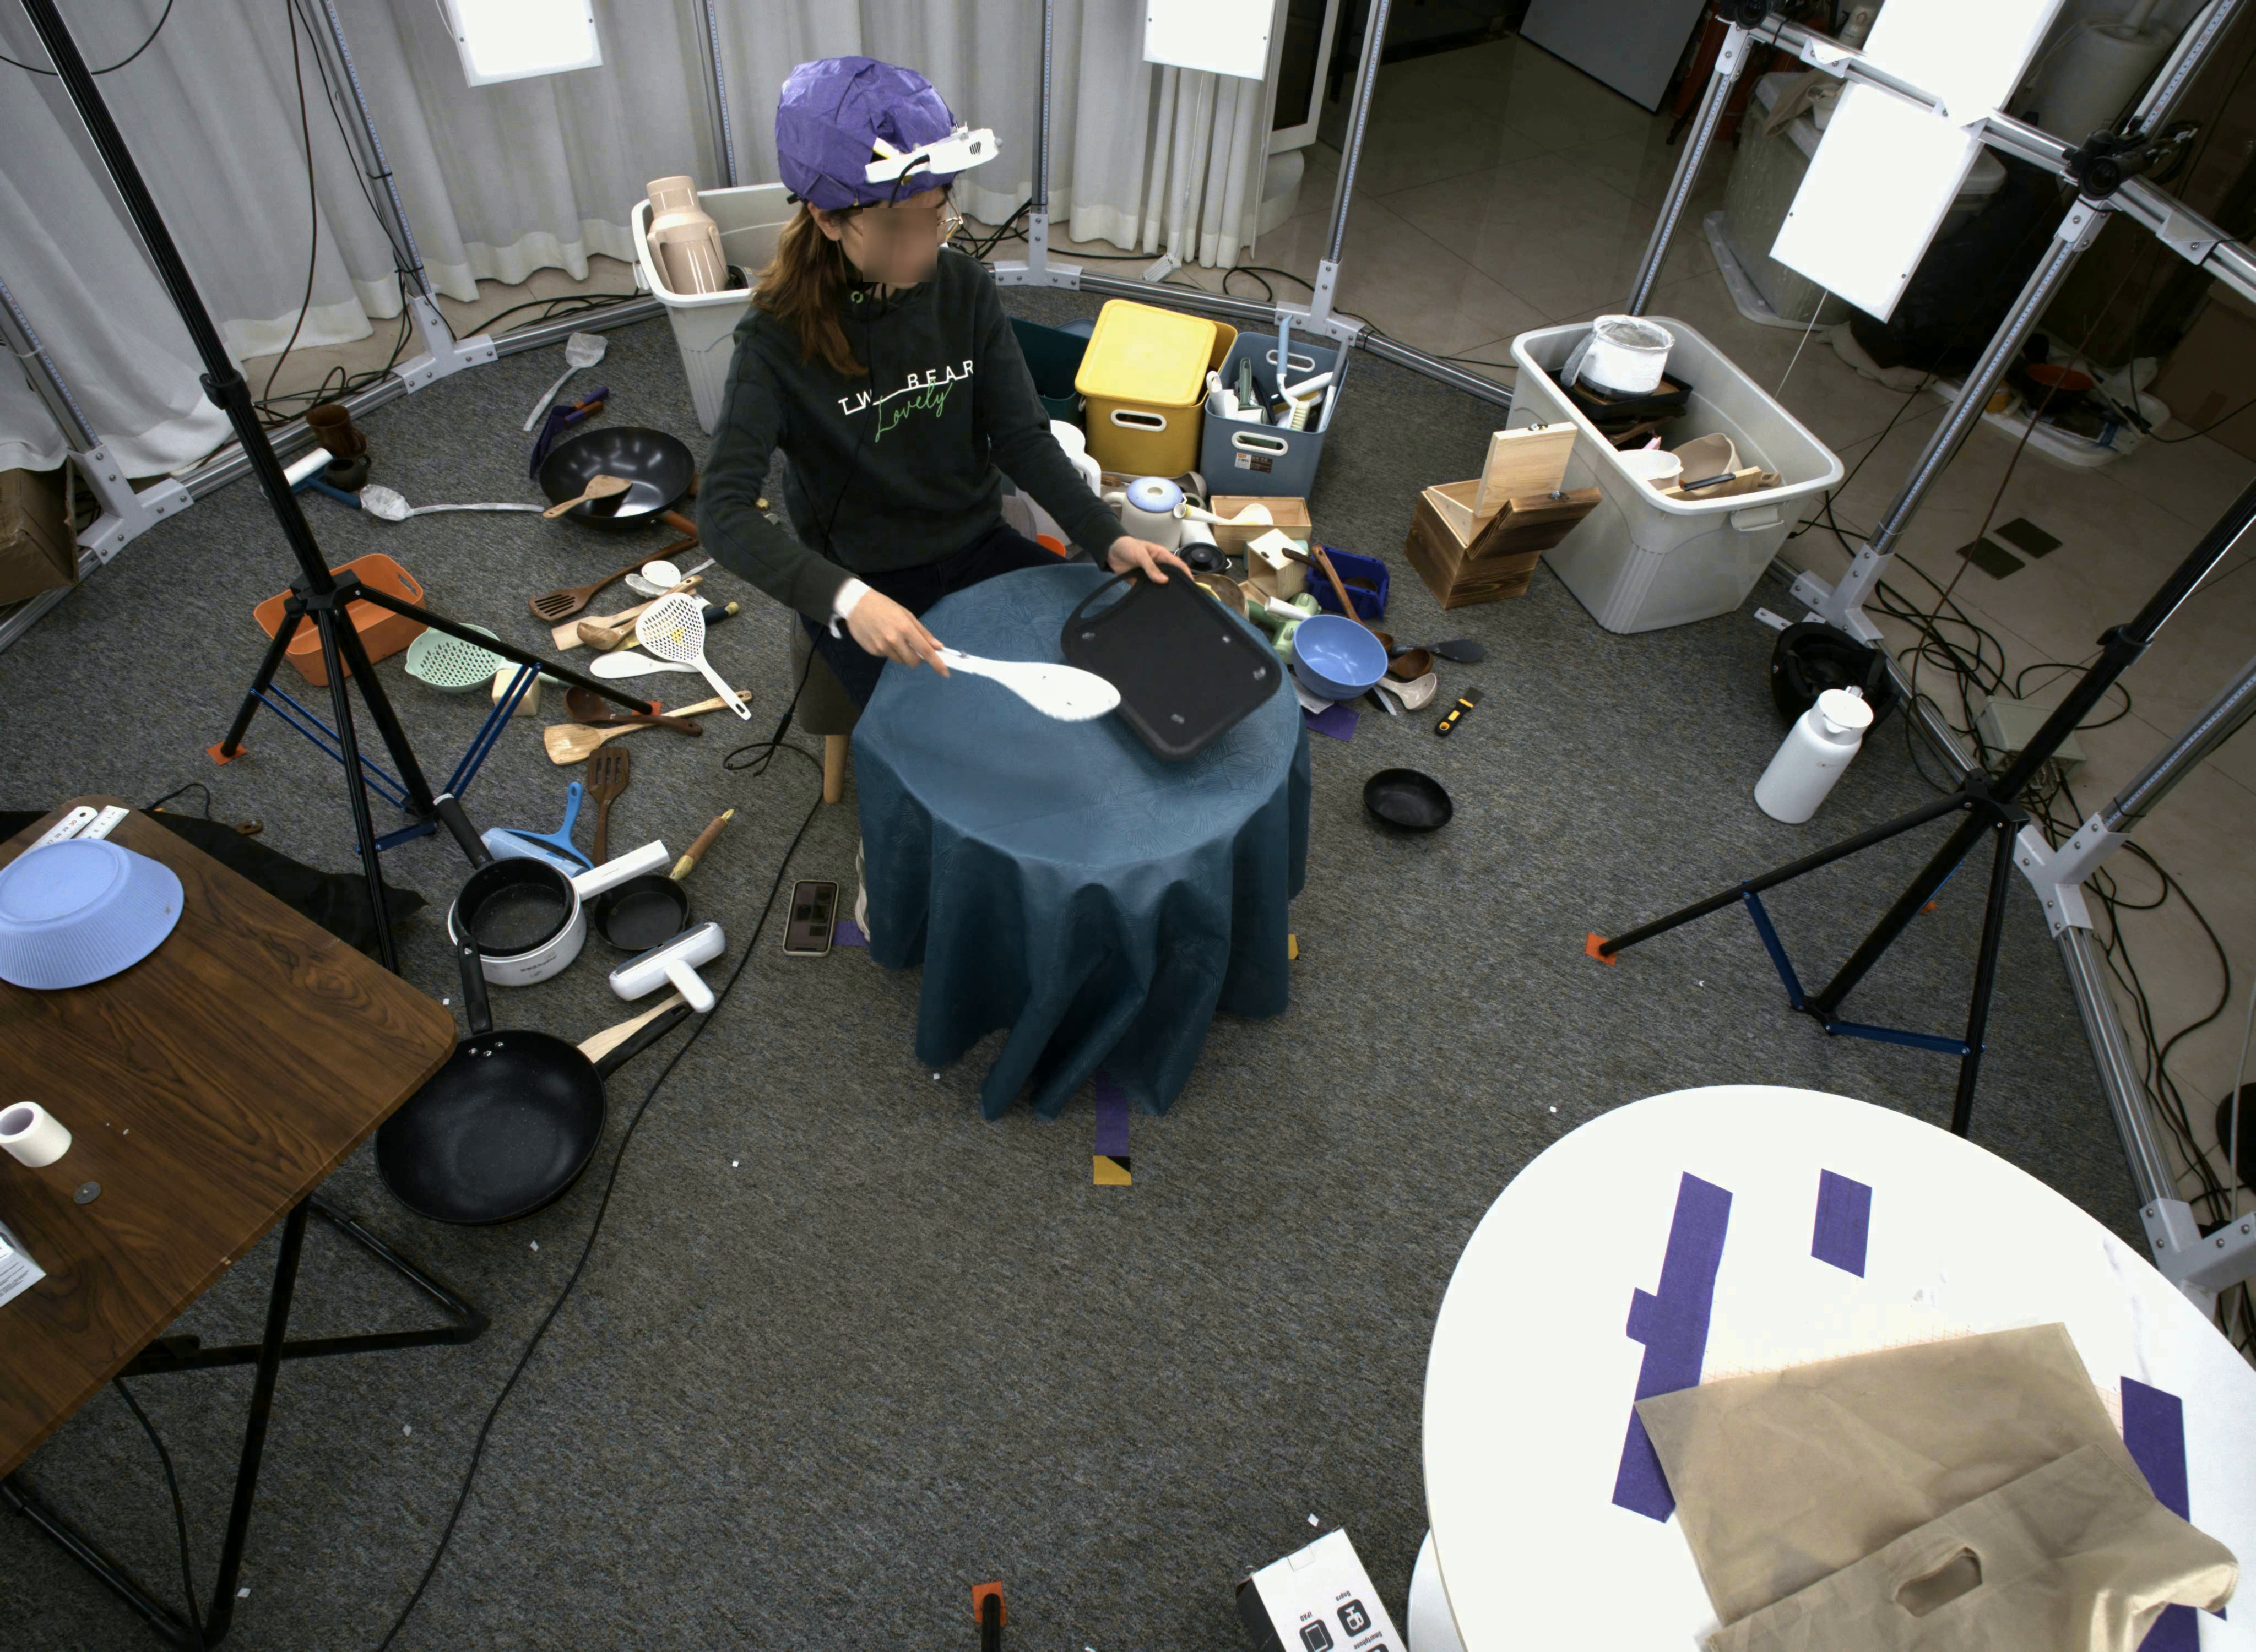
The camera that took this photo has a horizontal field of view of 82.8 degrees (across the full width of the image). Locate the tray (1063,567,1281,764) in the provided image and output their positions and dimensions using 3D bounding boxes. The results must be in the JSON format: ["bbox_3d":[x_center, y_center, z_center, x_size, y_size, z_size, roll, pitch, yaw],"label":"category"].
[{"bbox_3d":[0.051,-0.236,1.800,0.211,0.009,0.332,-36,59,-6],"label":"tray"}]

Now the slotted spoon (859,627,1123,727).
[{"bbox_3d":[-0.177,-0.196,1.645,0.350,0.045,0.138,21,28,5],"label":"slotted spoon"}]
